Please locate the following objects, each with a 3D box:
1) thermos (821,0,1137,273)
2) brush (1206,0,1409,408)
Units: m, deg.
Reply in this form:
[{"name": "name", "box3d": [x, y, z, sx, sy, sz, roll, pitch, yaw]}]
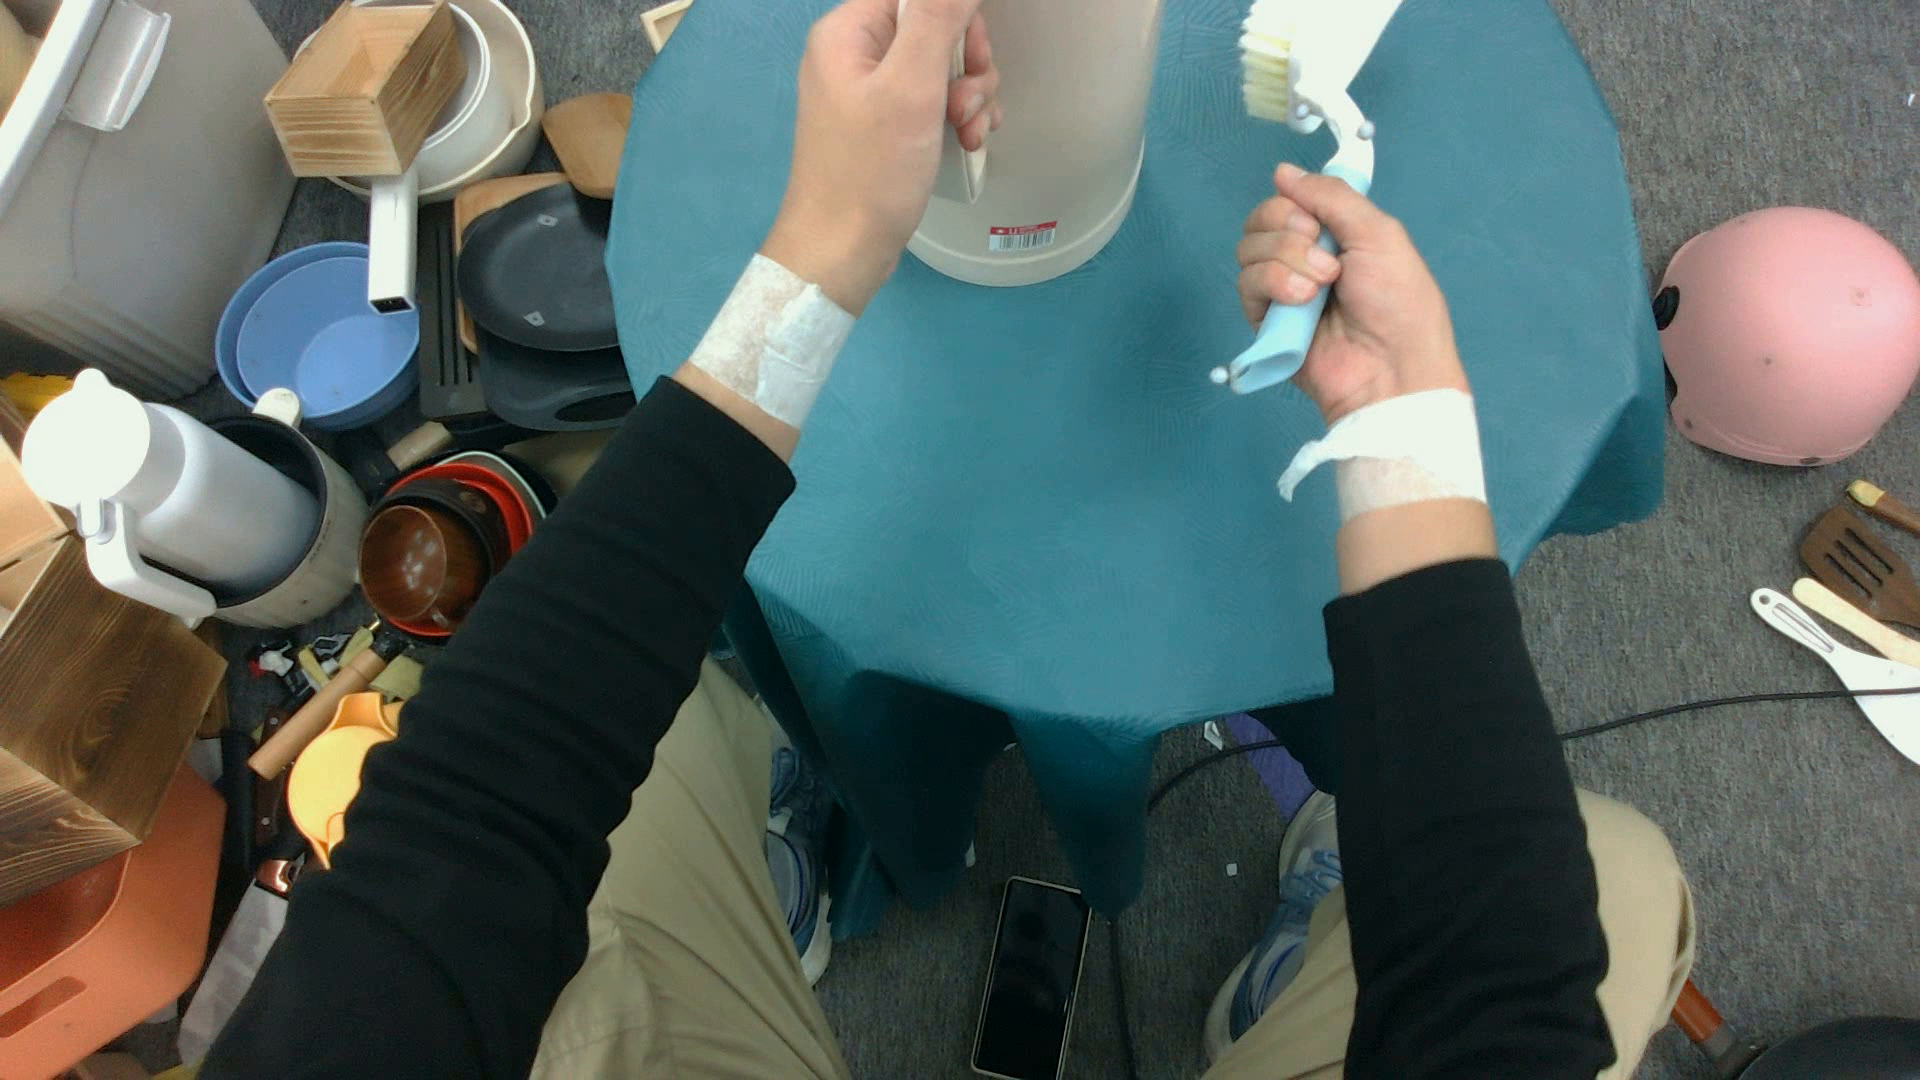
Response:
[{"name": "thermos", "box3d": [0.004, -0.269, 0.627, 0.175, 0.405, 0.207, 15, 75, 4]}, {"name": "brush", "box3d": [0.155, -0.204, 0.683, 0.083, 0.084, 0.327, 41, 63, -27]}]
